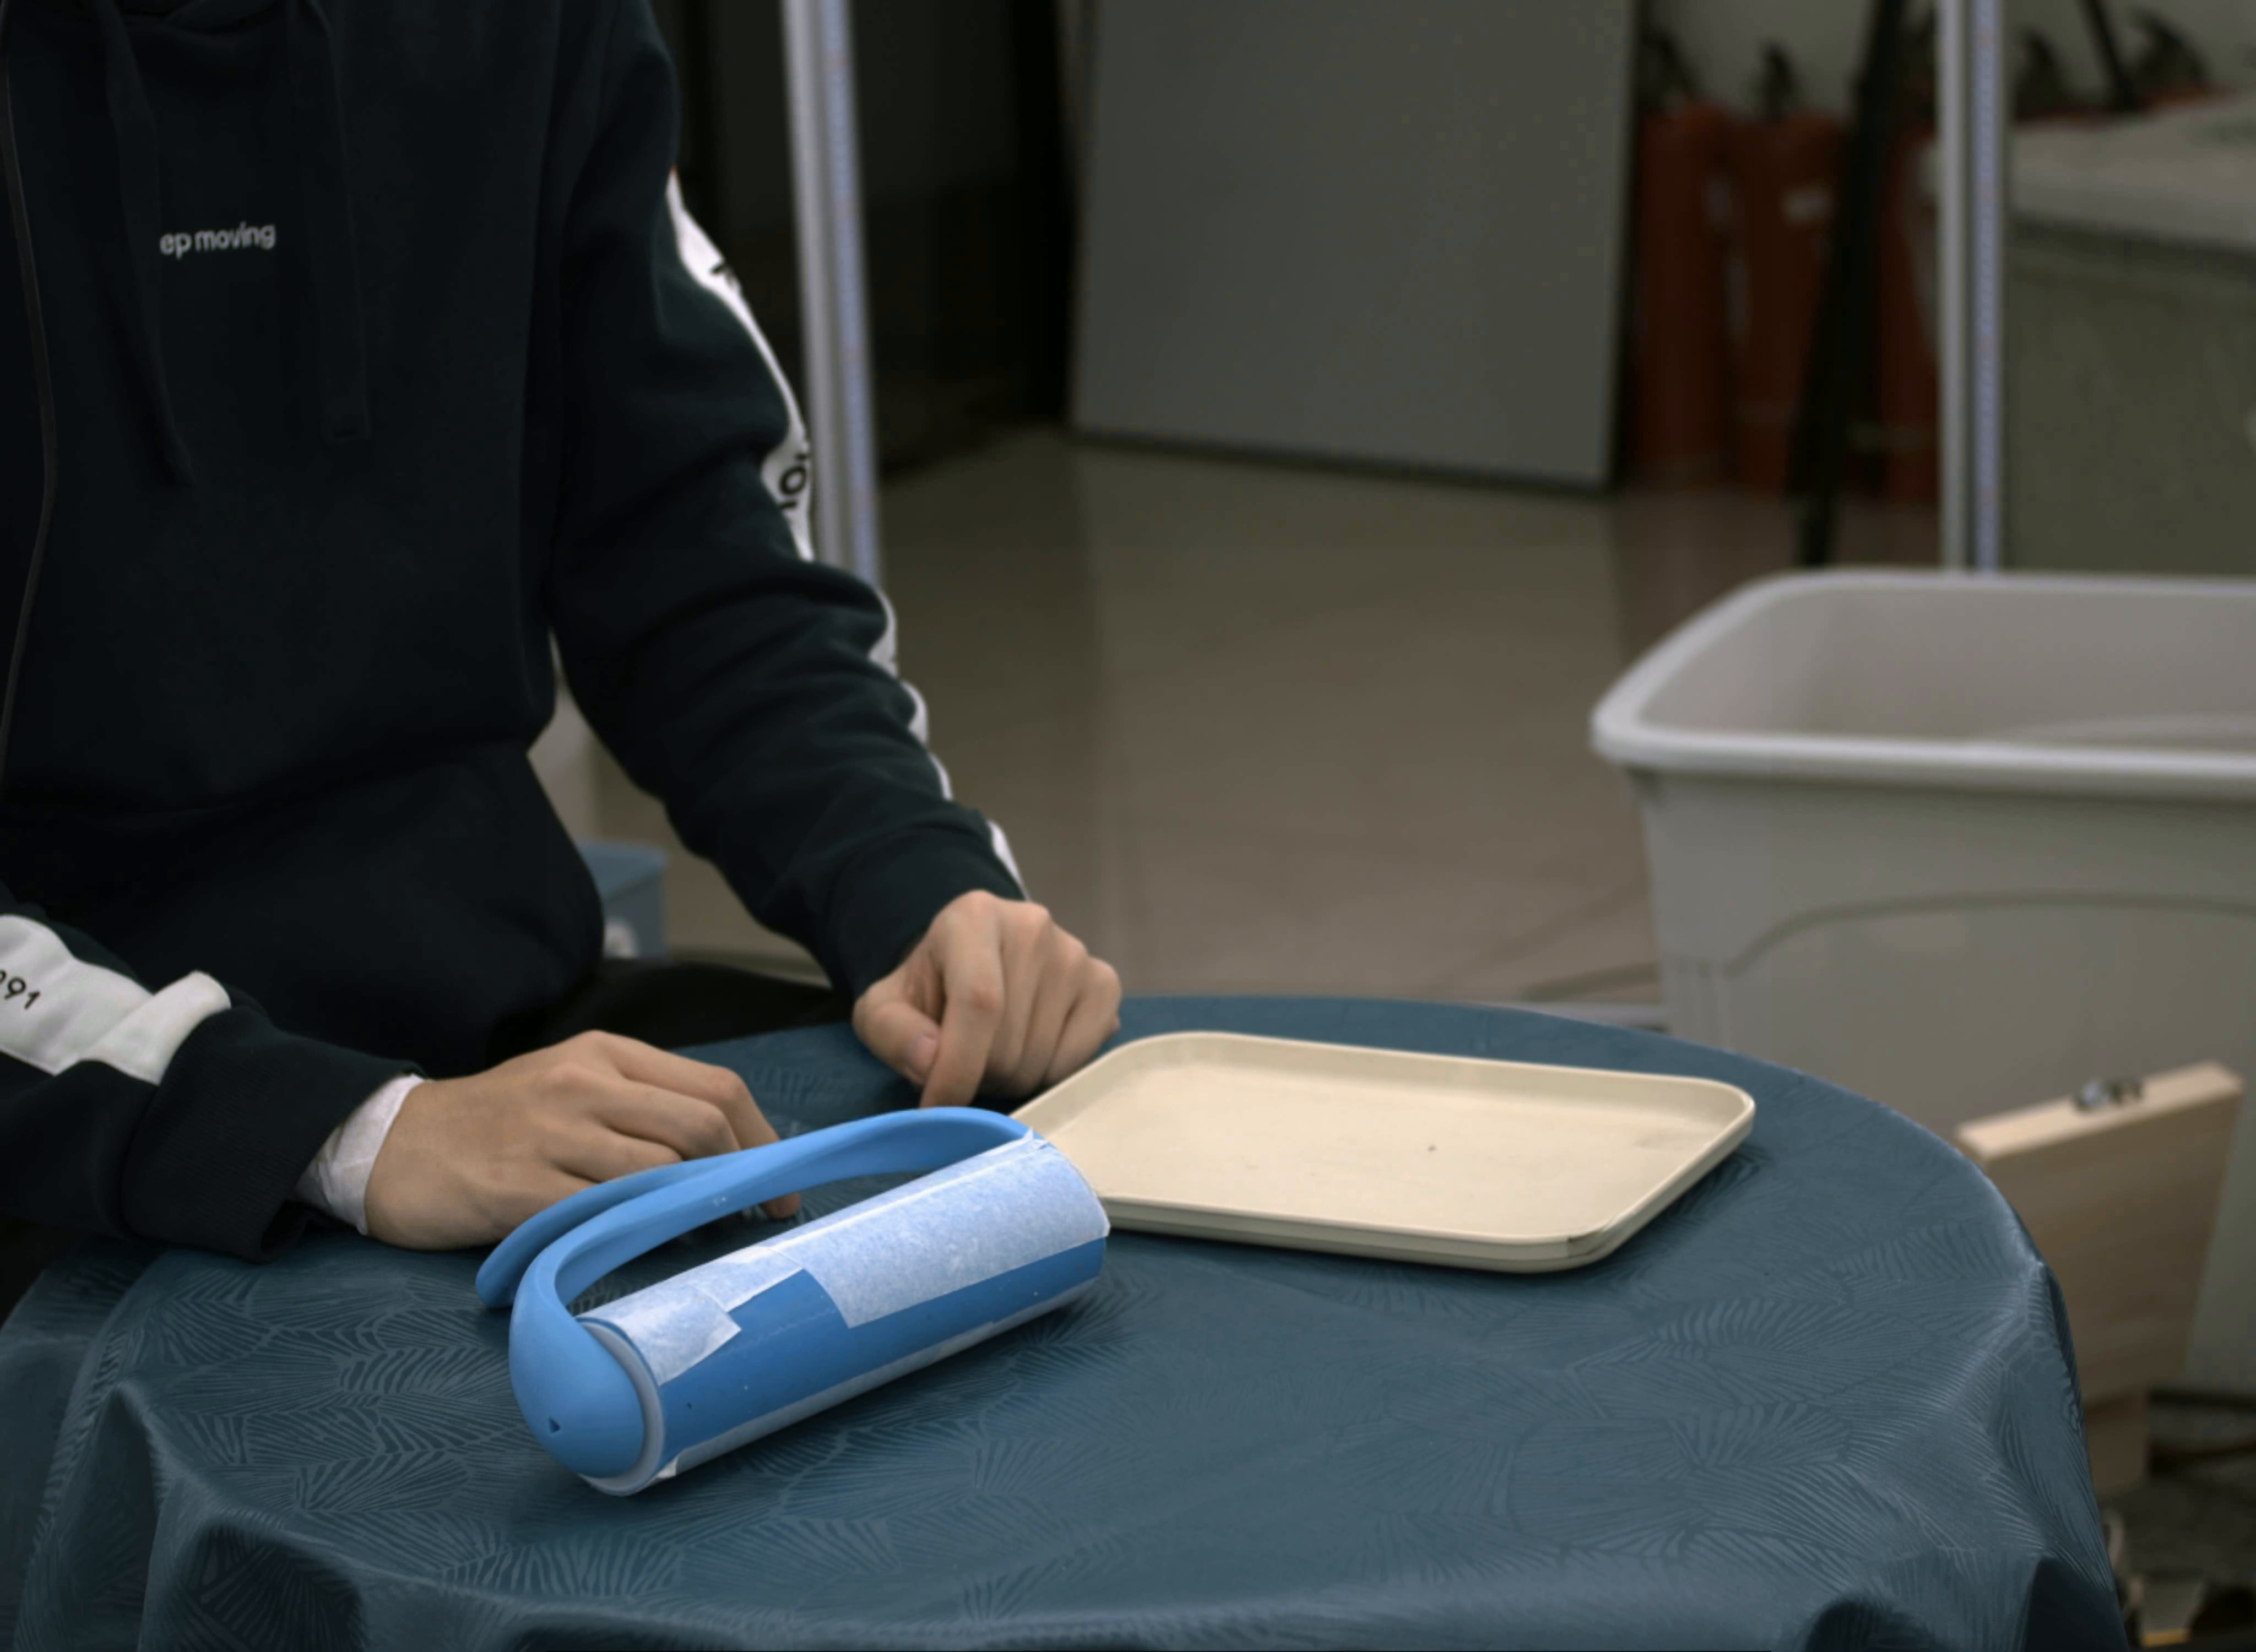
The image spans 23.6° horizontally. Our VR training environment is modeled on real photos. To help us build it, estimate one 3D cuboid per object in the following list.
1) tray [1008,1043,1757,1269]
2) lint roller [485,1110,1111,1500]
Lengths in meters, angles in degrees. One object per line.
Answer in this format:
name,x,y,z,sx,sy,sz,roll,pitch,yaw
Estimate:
tray,0.076,0.108,1.766,0.240,0.017,0.169,3,15,29
lint roller,-0.132,0.136,1.632,0.181,0.068,0.225,8,20,38
